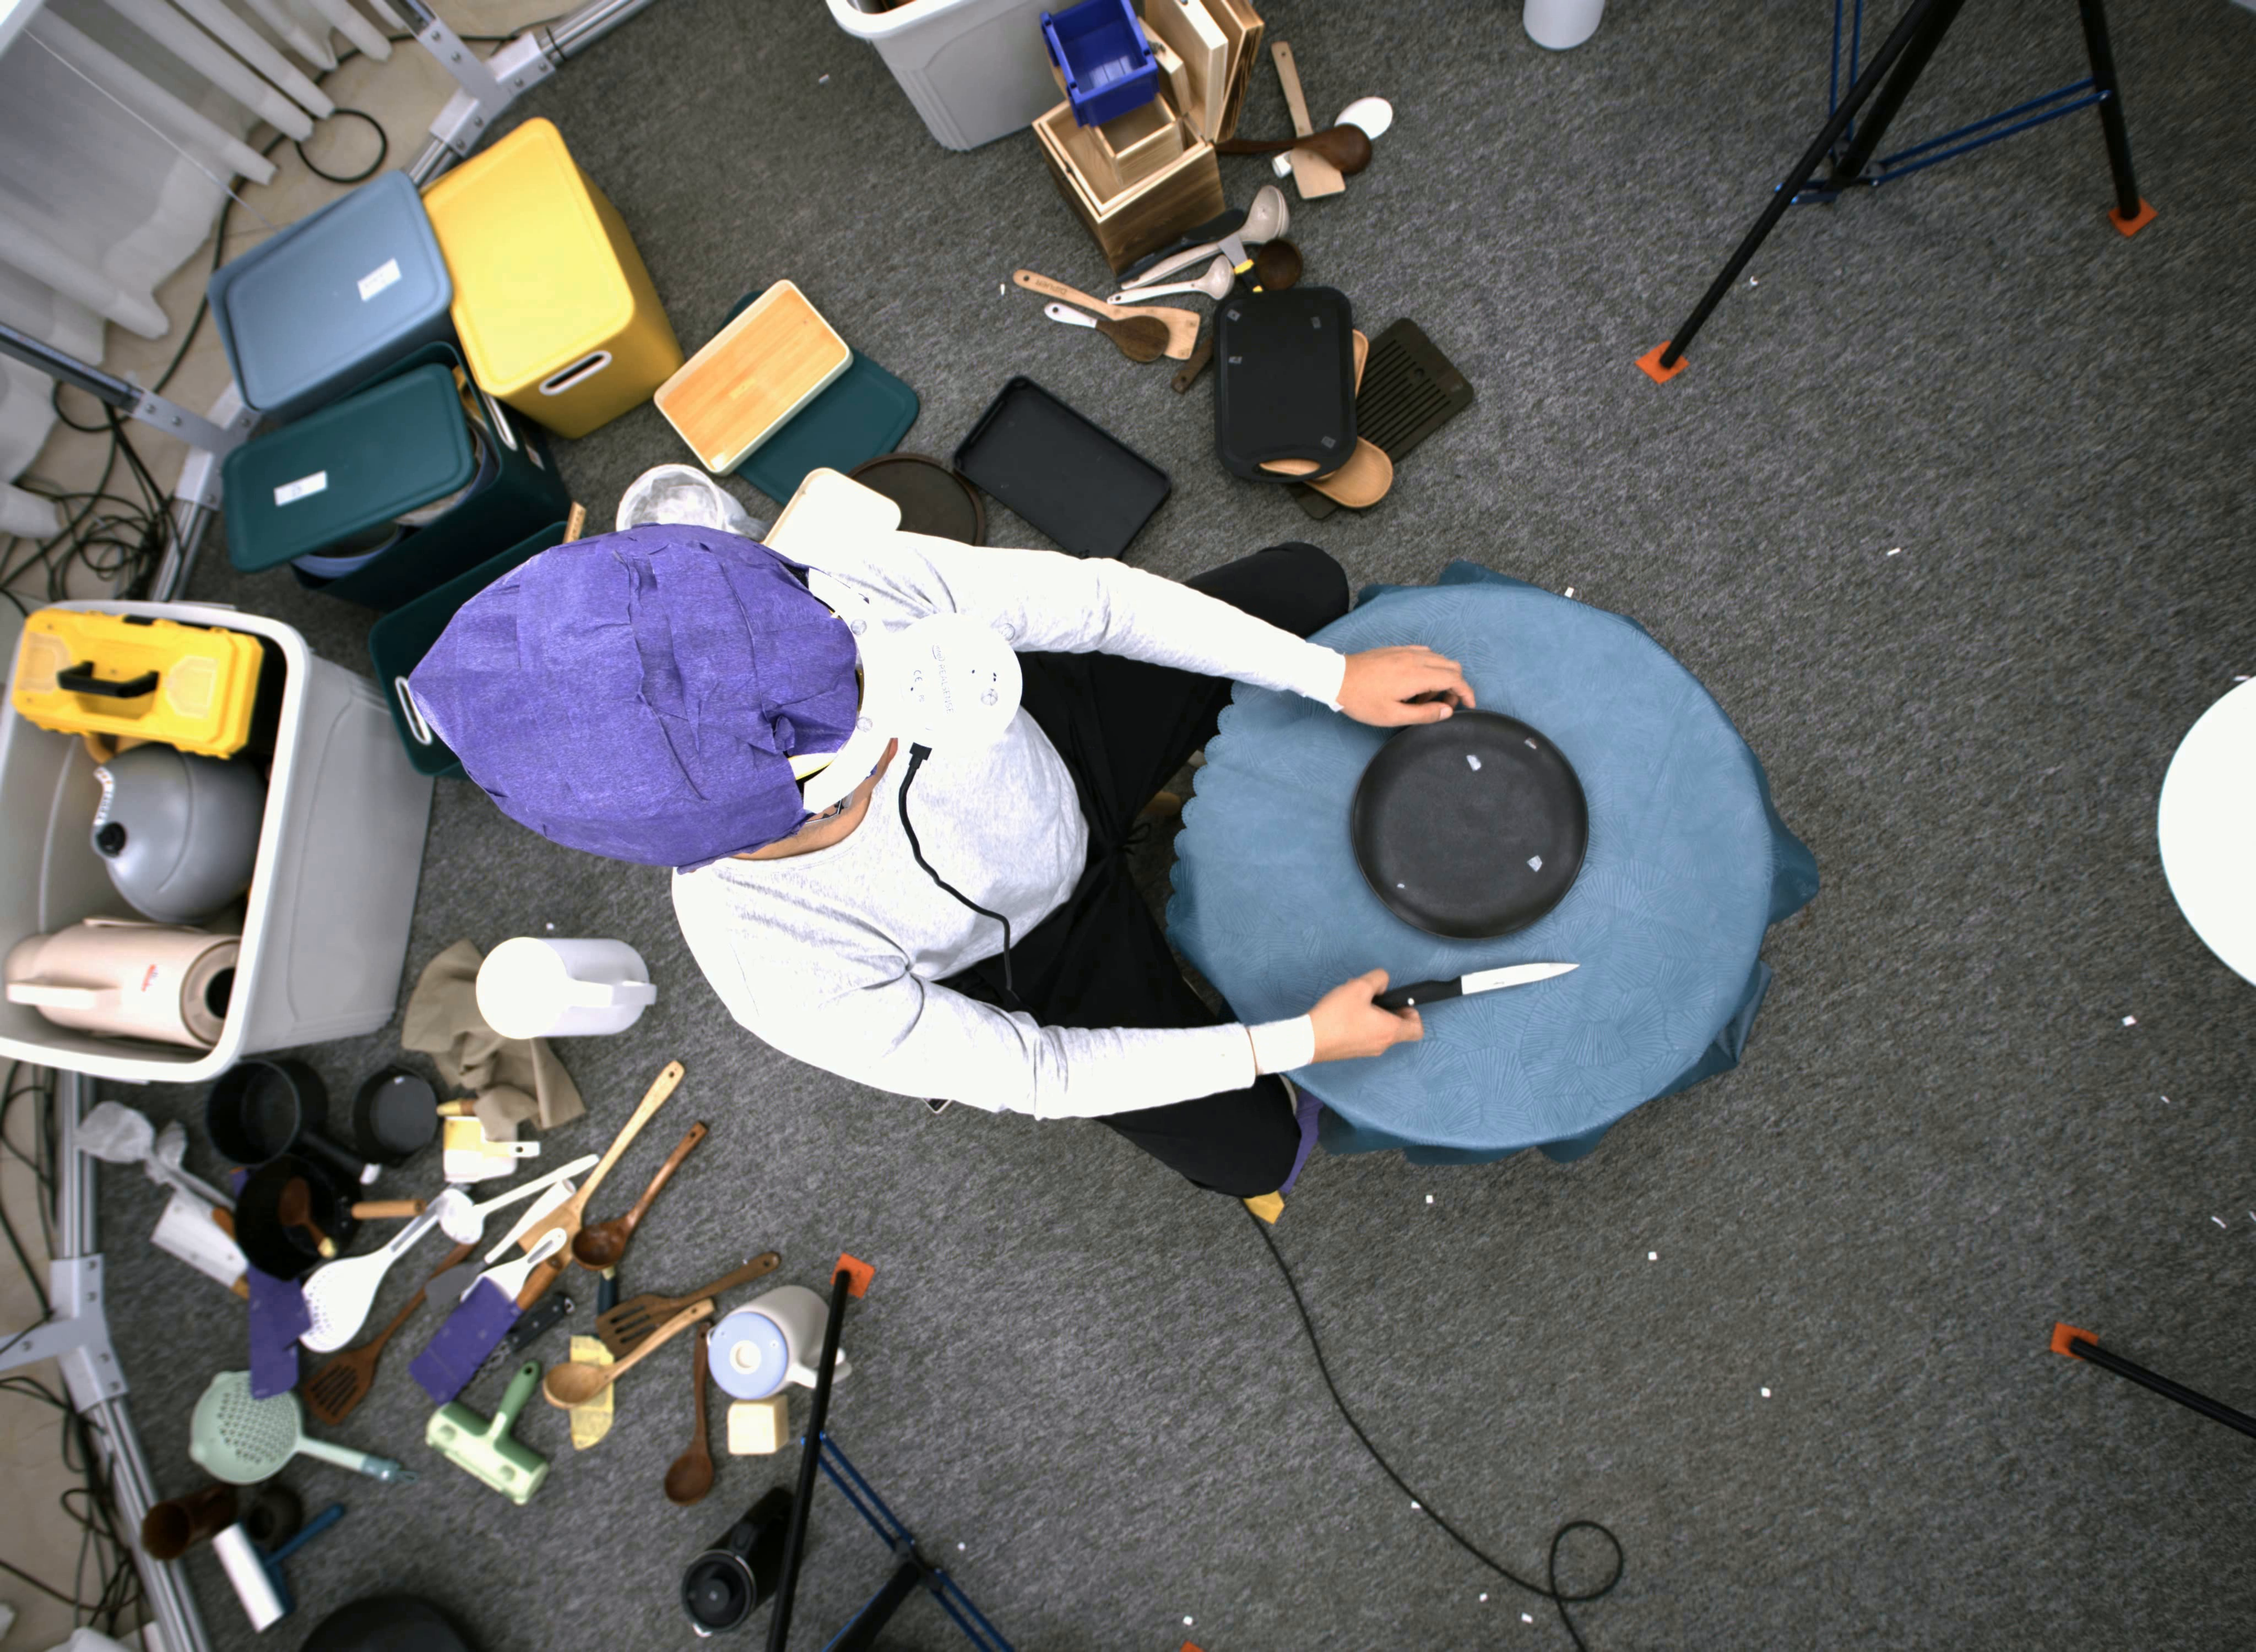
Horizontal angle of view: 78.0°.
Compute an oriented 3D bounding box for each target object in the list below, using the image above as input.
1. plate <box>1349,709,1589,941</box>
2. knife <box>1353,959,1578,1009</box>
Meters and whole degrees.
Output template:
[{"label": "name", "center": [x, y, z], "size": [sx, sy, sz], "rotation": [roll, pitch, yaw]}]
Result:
[{"label": "plate", "center": [0.355, -0.002, 1.437], "size": [0.245, 0.023, 0.243], "rotation": [-1, 87, 11]}, {"label": "knife", "center": [0.348, 0.159, 1.416], "size": [0.238, 0.016, 0.025], "rotation": [-10, 107, -2]}]
